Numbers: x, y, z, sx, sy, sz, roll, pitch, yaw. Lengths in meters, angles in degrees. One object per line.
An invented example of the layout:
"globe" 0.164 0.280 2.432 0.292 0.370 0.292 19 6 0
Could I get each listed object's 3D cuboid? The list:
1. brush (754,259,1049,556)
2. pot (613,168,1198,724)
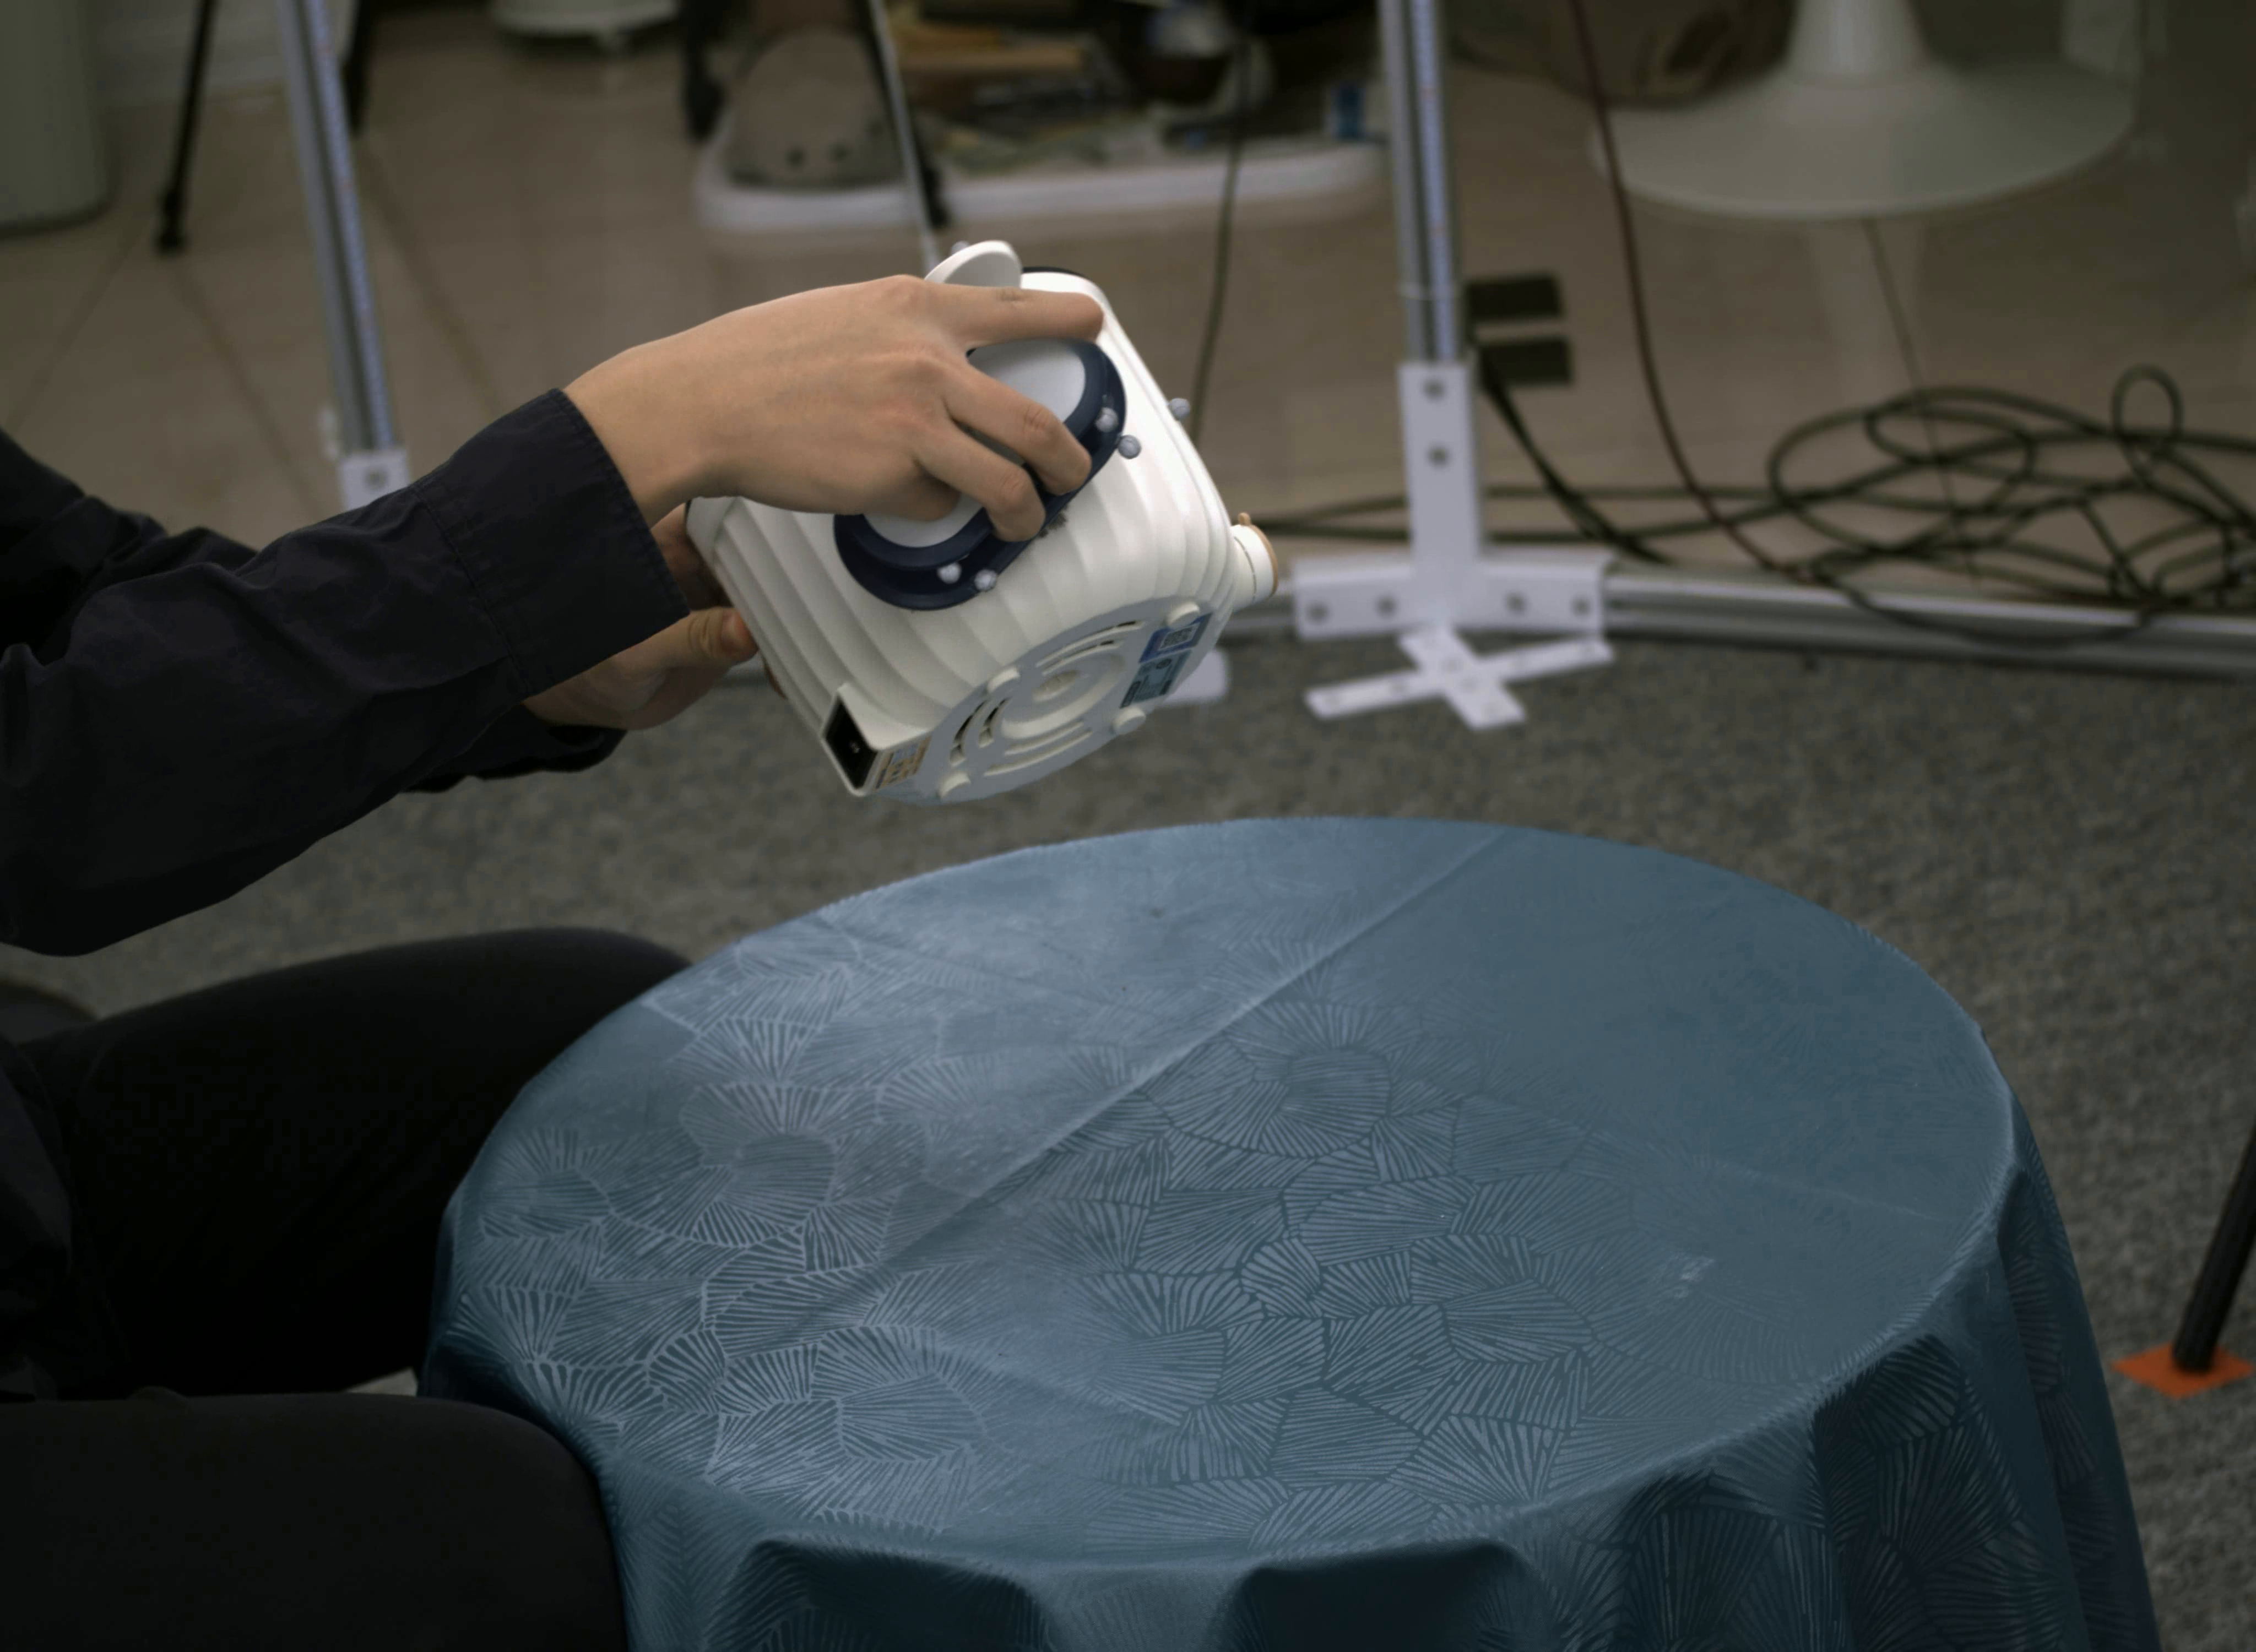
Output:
"brush" -0.081 -0.148 2.010 0.121 0.062 0.067 -42 80 -9
"pot" -0.080 -0.132 2.143 0.189 0.244 0.141 -25 73 -27
